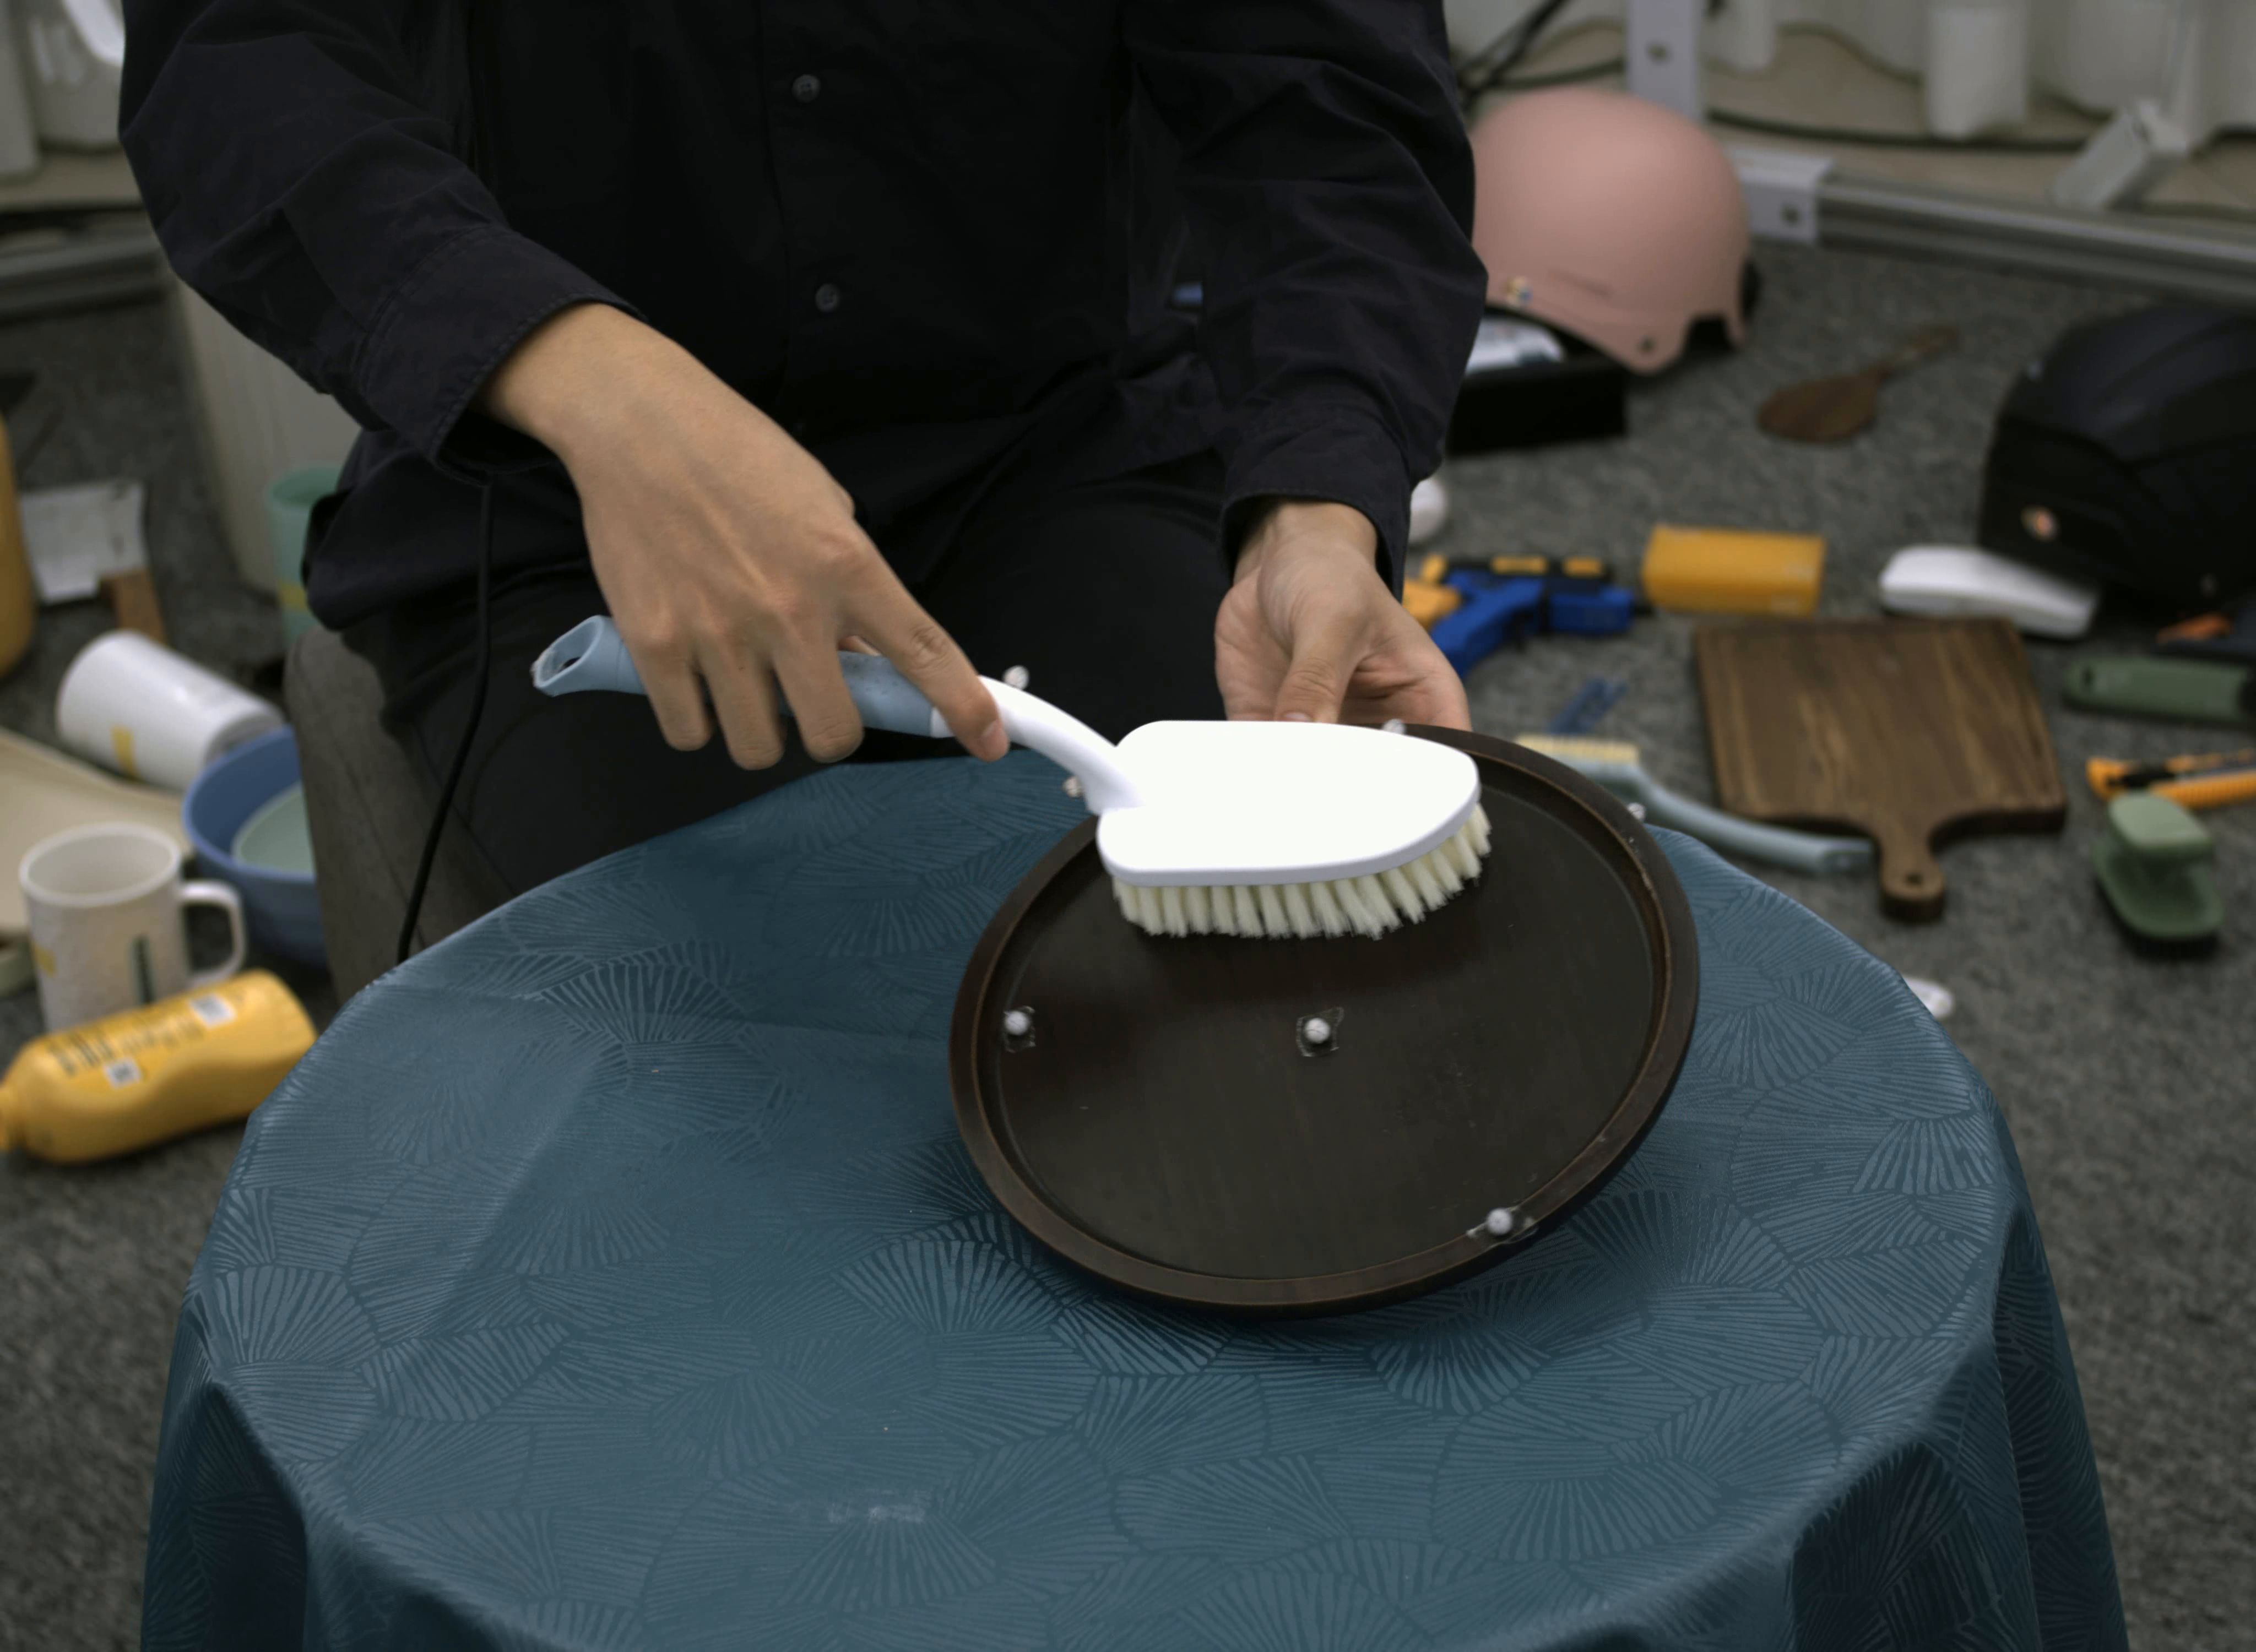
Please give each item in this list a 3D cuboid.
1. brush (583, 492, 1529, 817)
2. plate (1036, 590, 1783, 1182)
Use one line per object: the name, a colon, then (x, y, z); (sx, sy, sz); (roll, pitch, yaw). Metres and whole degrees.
brush: (-0.025, -0.056, 1.916); (0.324, 0.084, 0.084); (8, 12, 2)
plate: (0.094, 0.018, 1.877); (0.253, 0.028, 0.260); (-9, 46, 10)
